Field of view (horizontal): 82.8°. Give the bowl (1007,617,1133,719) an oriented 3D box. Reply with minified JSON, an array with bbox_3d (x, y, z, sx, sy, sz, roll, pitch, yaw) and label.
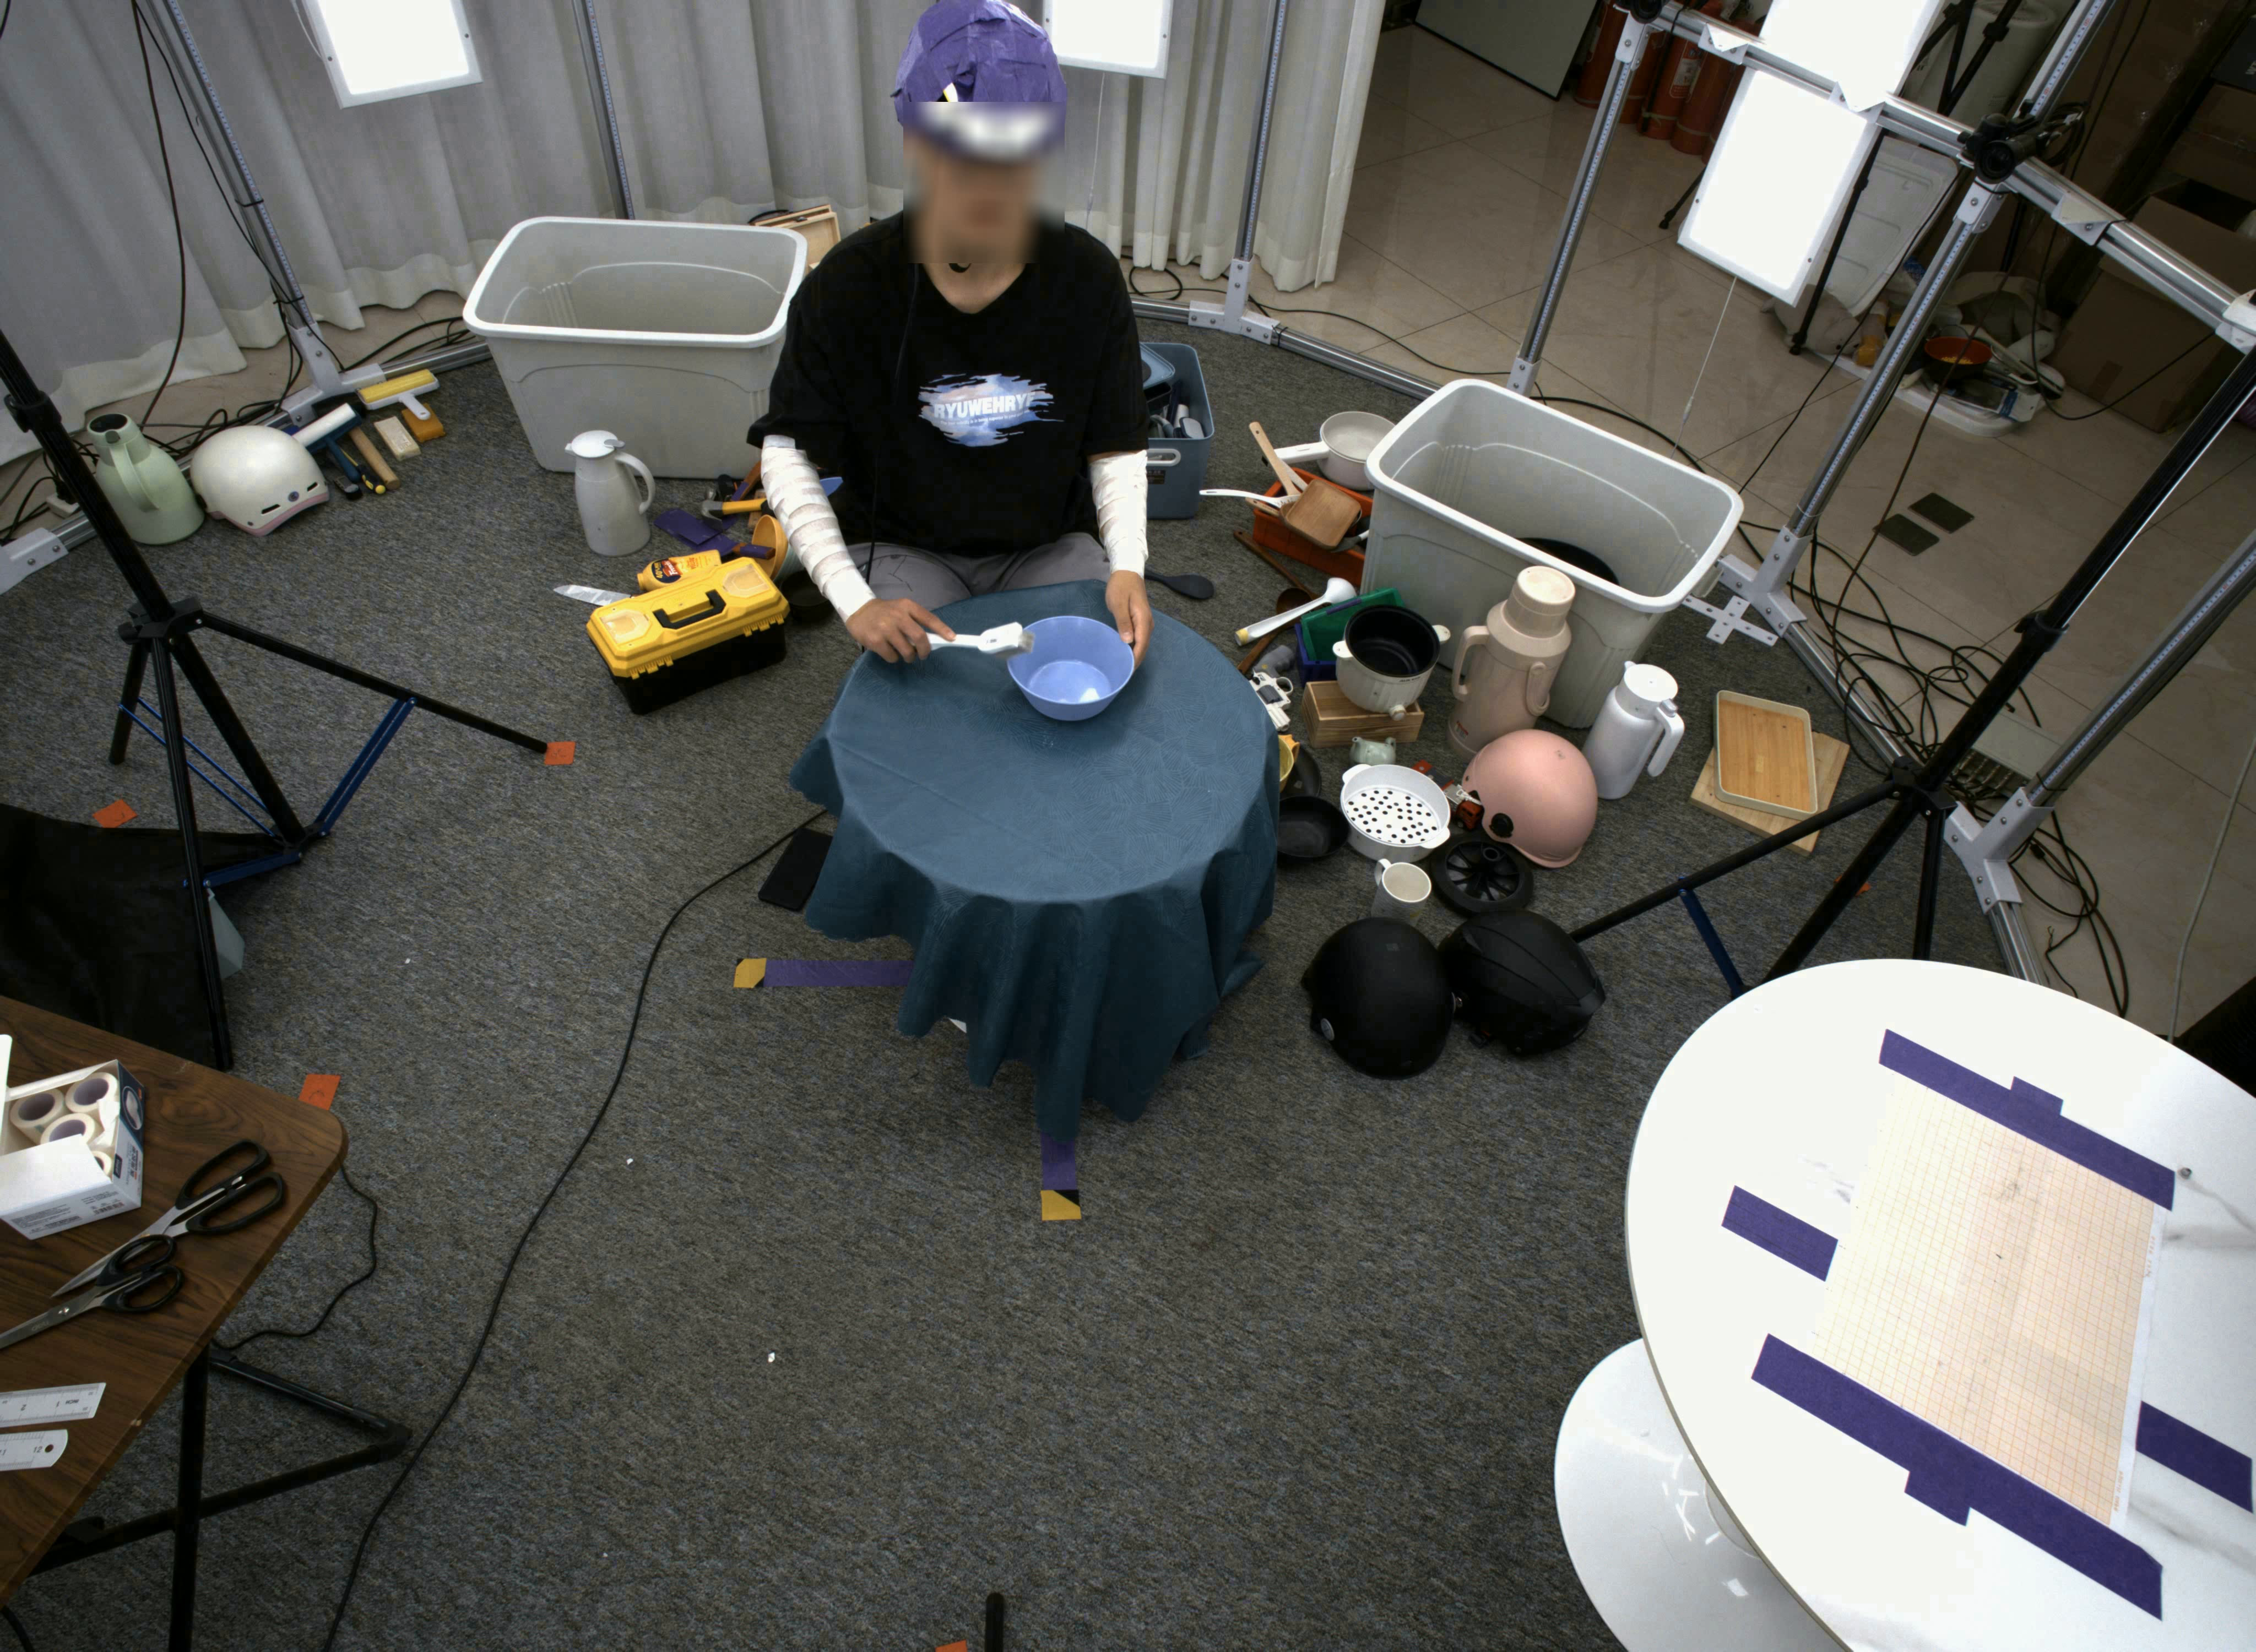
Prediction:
[{"bbox_3d":[-0.083,-0.213,1.806,0.176,0.068,0.180,2,49,-3],"label":"bowl"}]

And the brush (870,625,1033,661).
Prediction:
[{"bbox_3d":[-0.245,-0.249,1.792,0.244,0.049,0.035,0,69,23],"label":"brush"}]
